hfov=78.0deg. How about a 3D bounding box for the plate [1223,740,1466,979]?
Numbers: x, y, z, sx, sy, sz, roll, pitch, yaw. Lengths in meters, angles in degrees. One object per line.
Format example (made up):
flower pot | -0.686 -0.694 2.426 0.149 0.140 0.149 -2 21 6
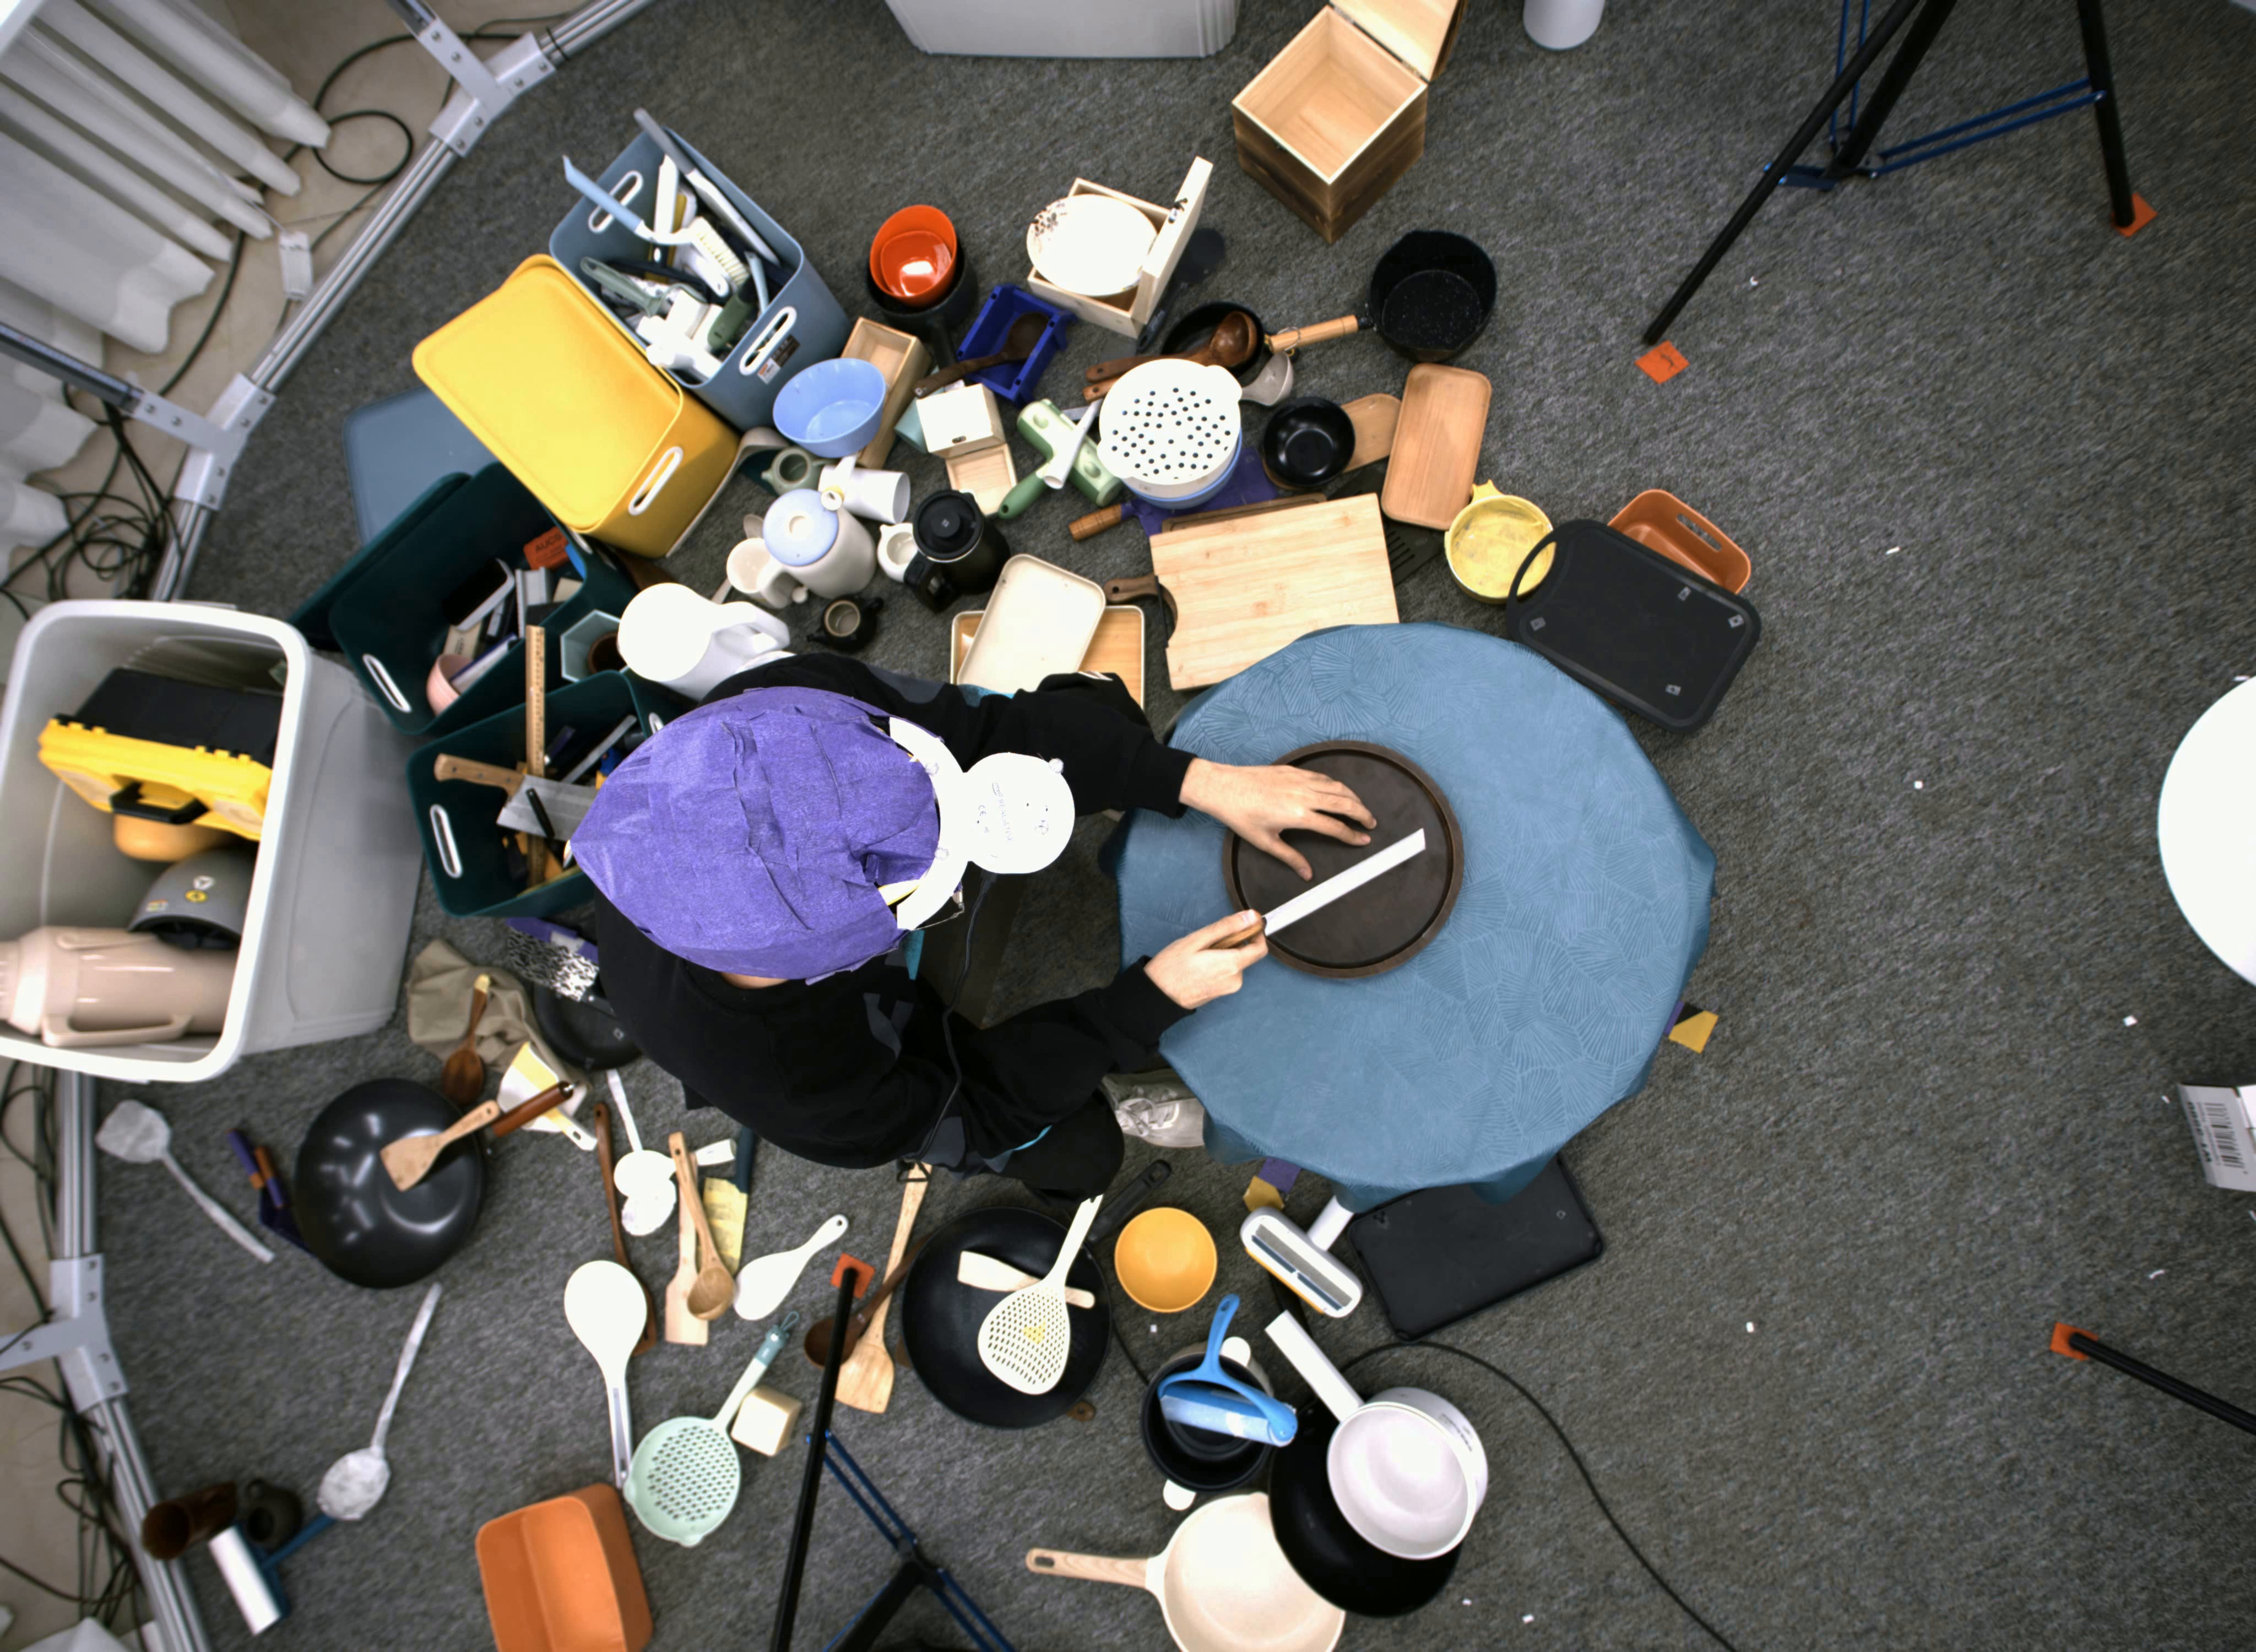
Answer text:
plate | 0.227 0.034 1.457 0.256 0.029 0.254 -1 88 9

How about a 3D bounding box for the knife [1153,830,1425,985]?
knife | 0.167 0.085 1.410 0.307 0.093 0.021 -29 72 7
